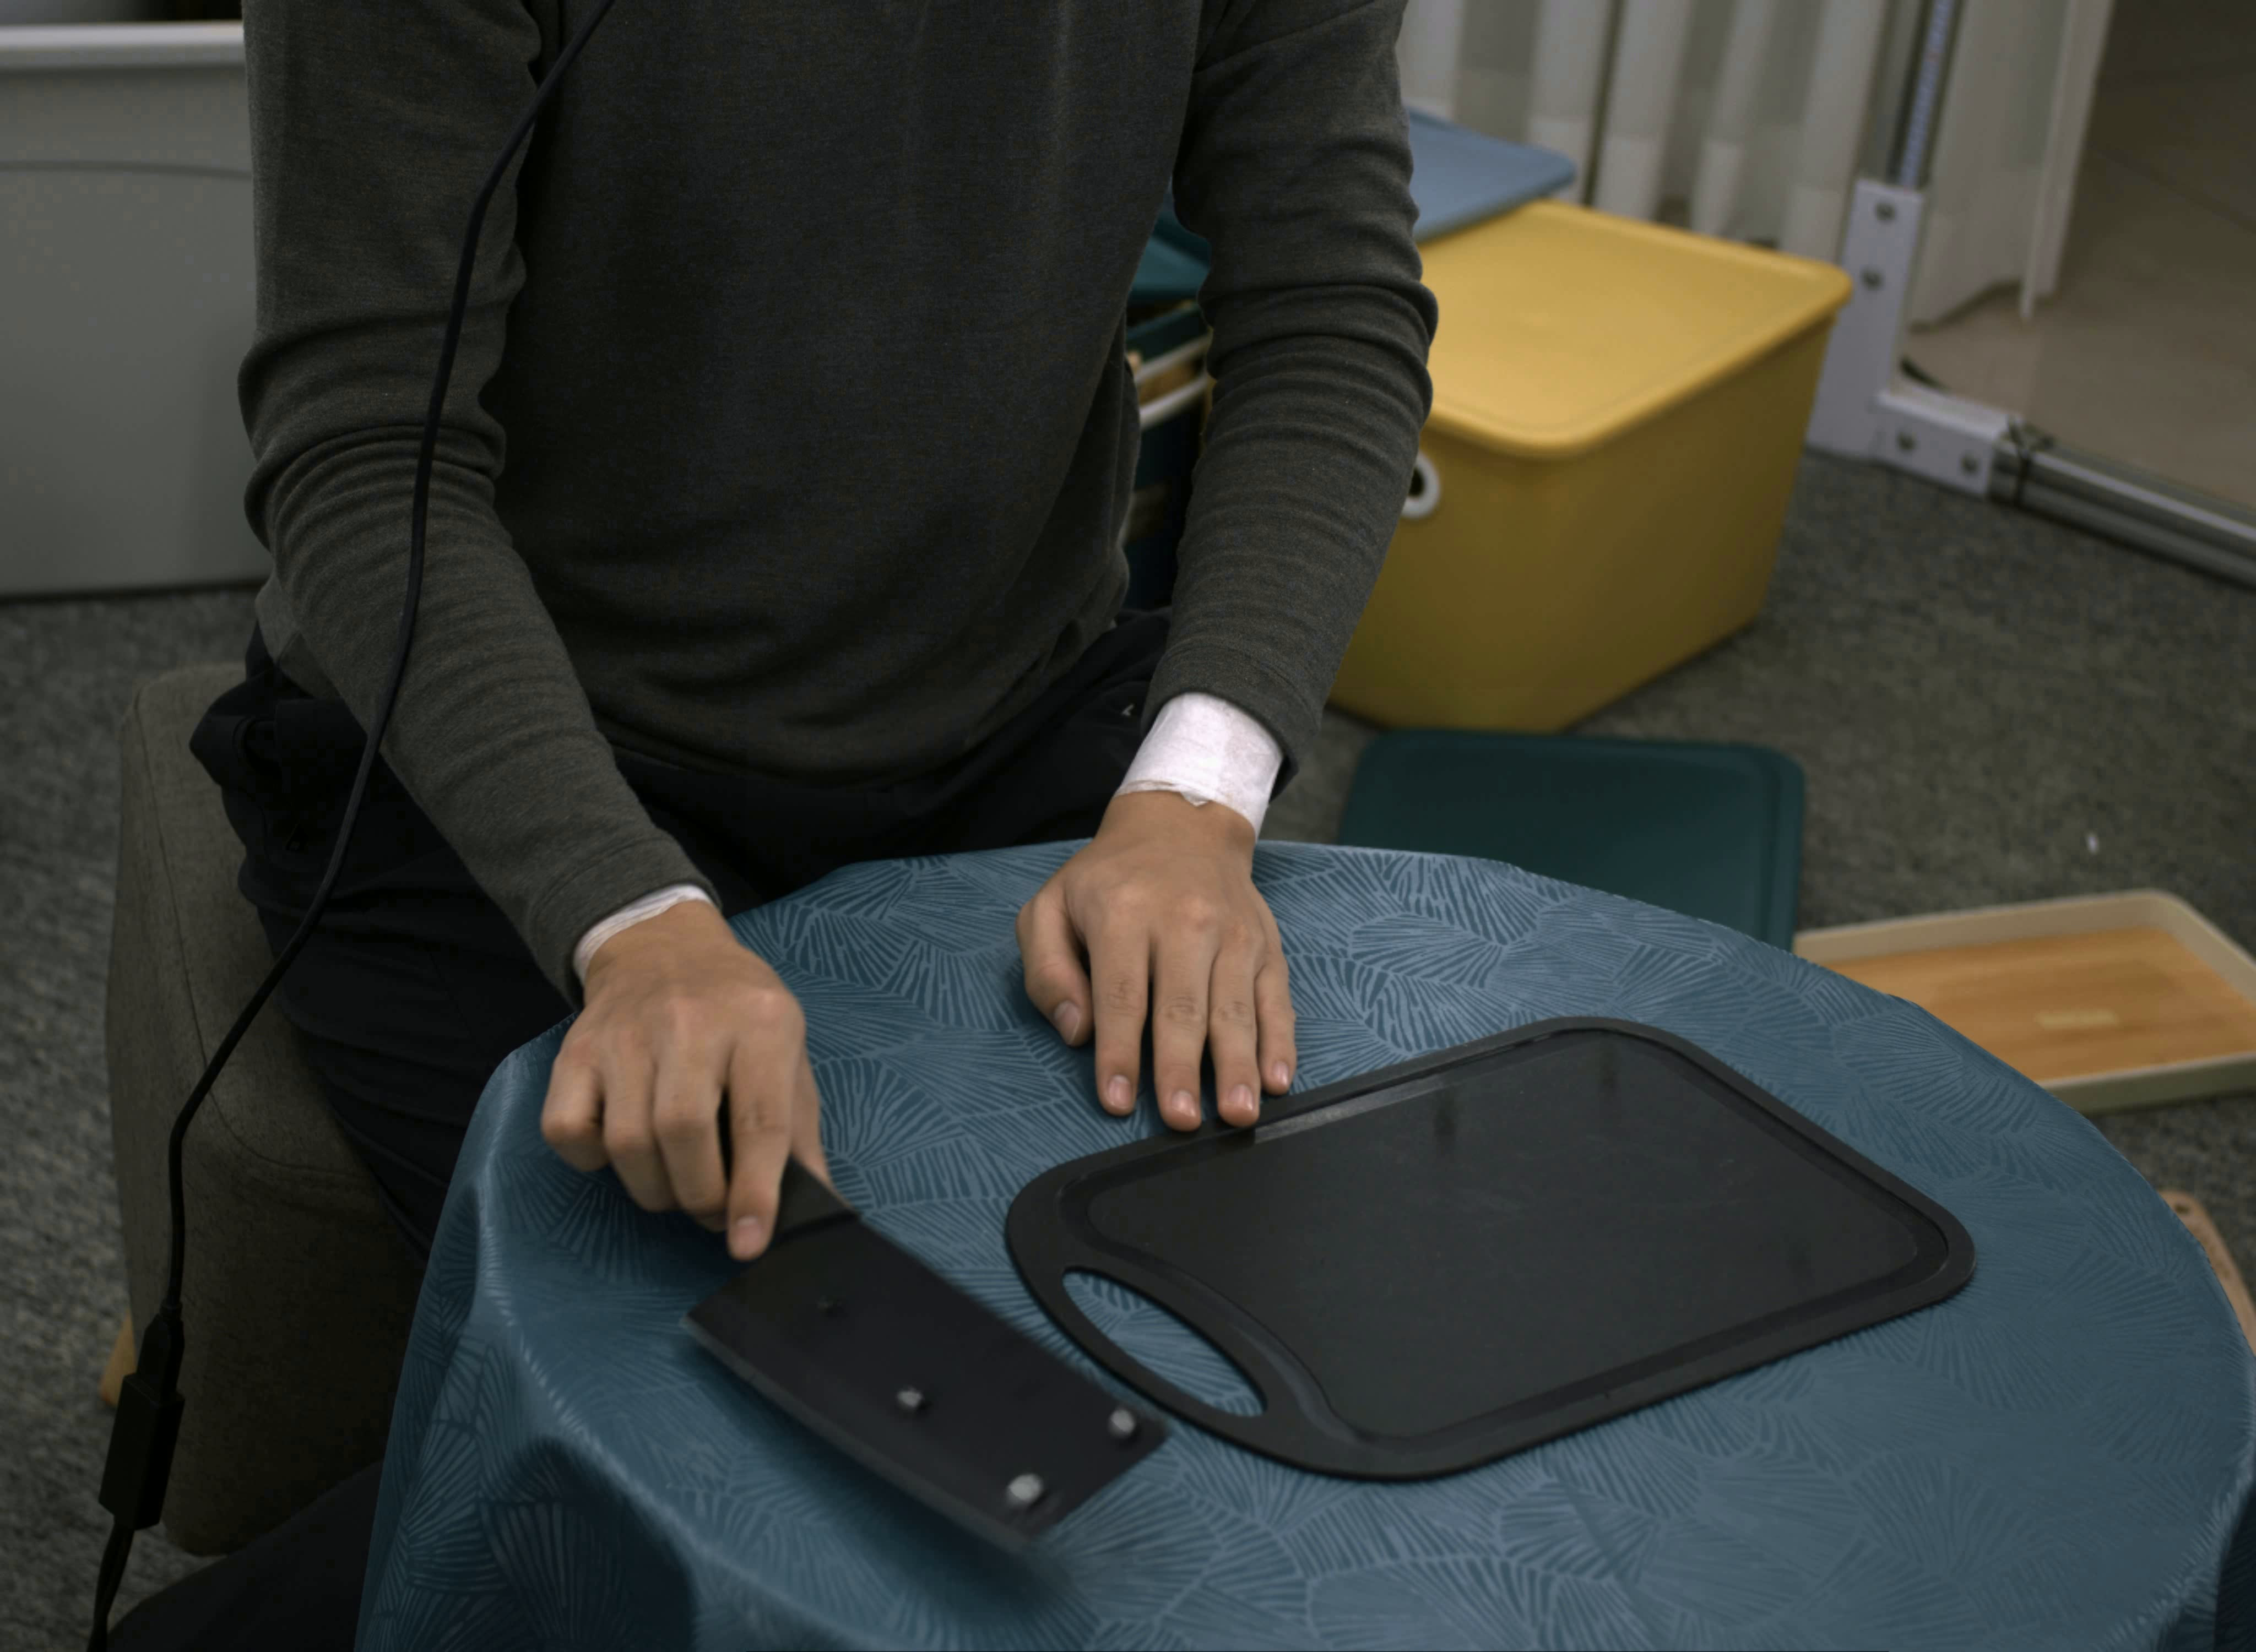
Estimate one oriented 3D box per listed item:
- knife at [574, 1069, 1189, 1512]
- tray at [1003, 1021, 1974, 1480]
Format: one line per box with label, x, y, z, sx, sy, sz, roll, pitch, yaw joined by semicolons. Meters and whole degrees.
knife;-0.092;0.142;1.680;0.081;0.021;0.305;-30;34;-22
tray;0.118;0.139;1.796;0.323;0.010;0.213;-14;32;-34
